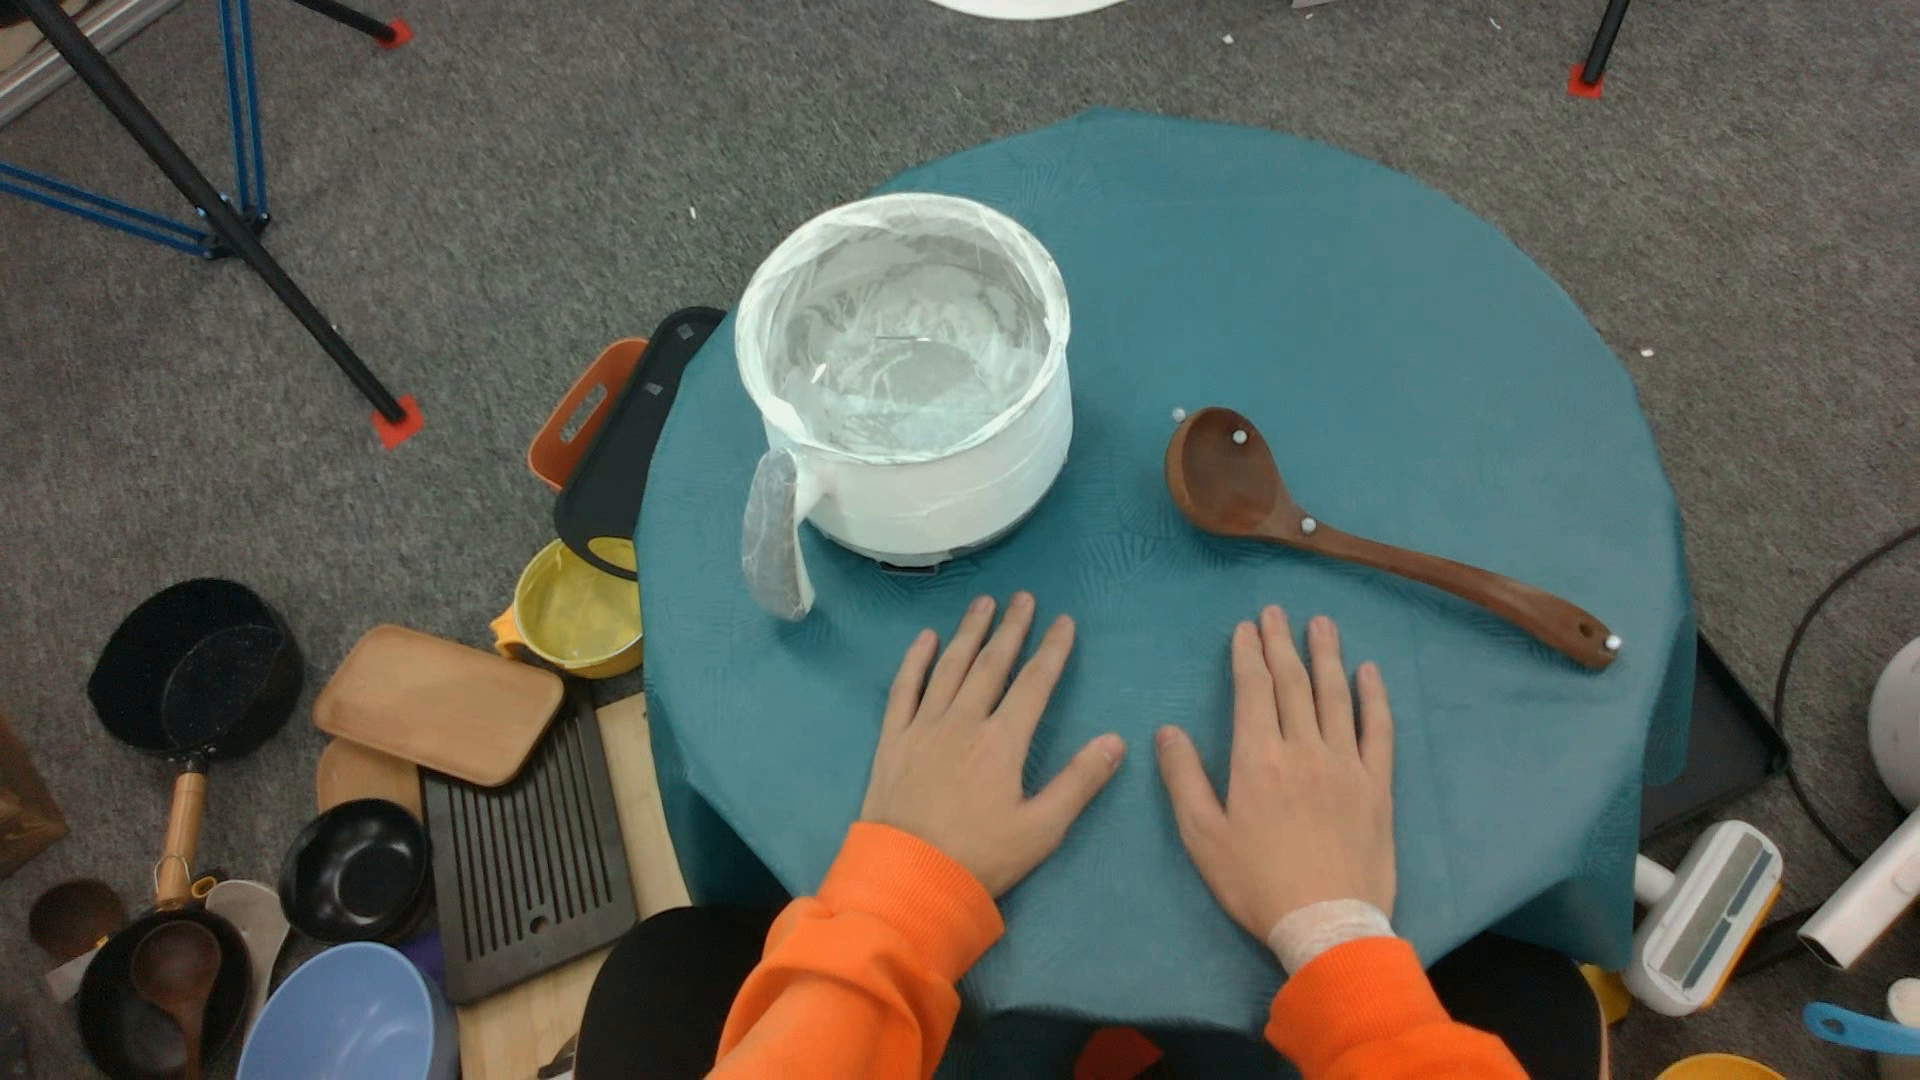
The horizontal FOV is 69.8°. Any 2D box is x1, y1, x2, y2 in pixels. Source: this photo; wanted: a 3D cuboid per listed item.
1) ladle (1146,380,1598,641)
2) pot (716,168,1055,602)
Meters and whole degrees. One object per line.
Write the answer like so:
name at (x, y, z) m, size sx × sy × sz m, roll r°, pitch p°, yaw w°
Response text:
ladle at (0.224, -0.014, 0.750) m, size 0.260 × 0.065 × 0.077 m, roll 24°, pitch 66°, yaw 16°
pot at (-0.051, -0.076, 0.764) m, size 0.178 × 0.136 × 0.234 m, roll 28°, pitch 68°, yaw 19°
